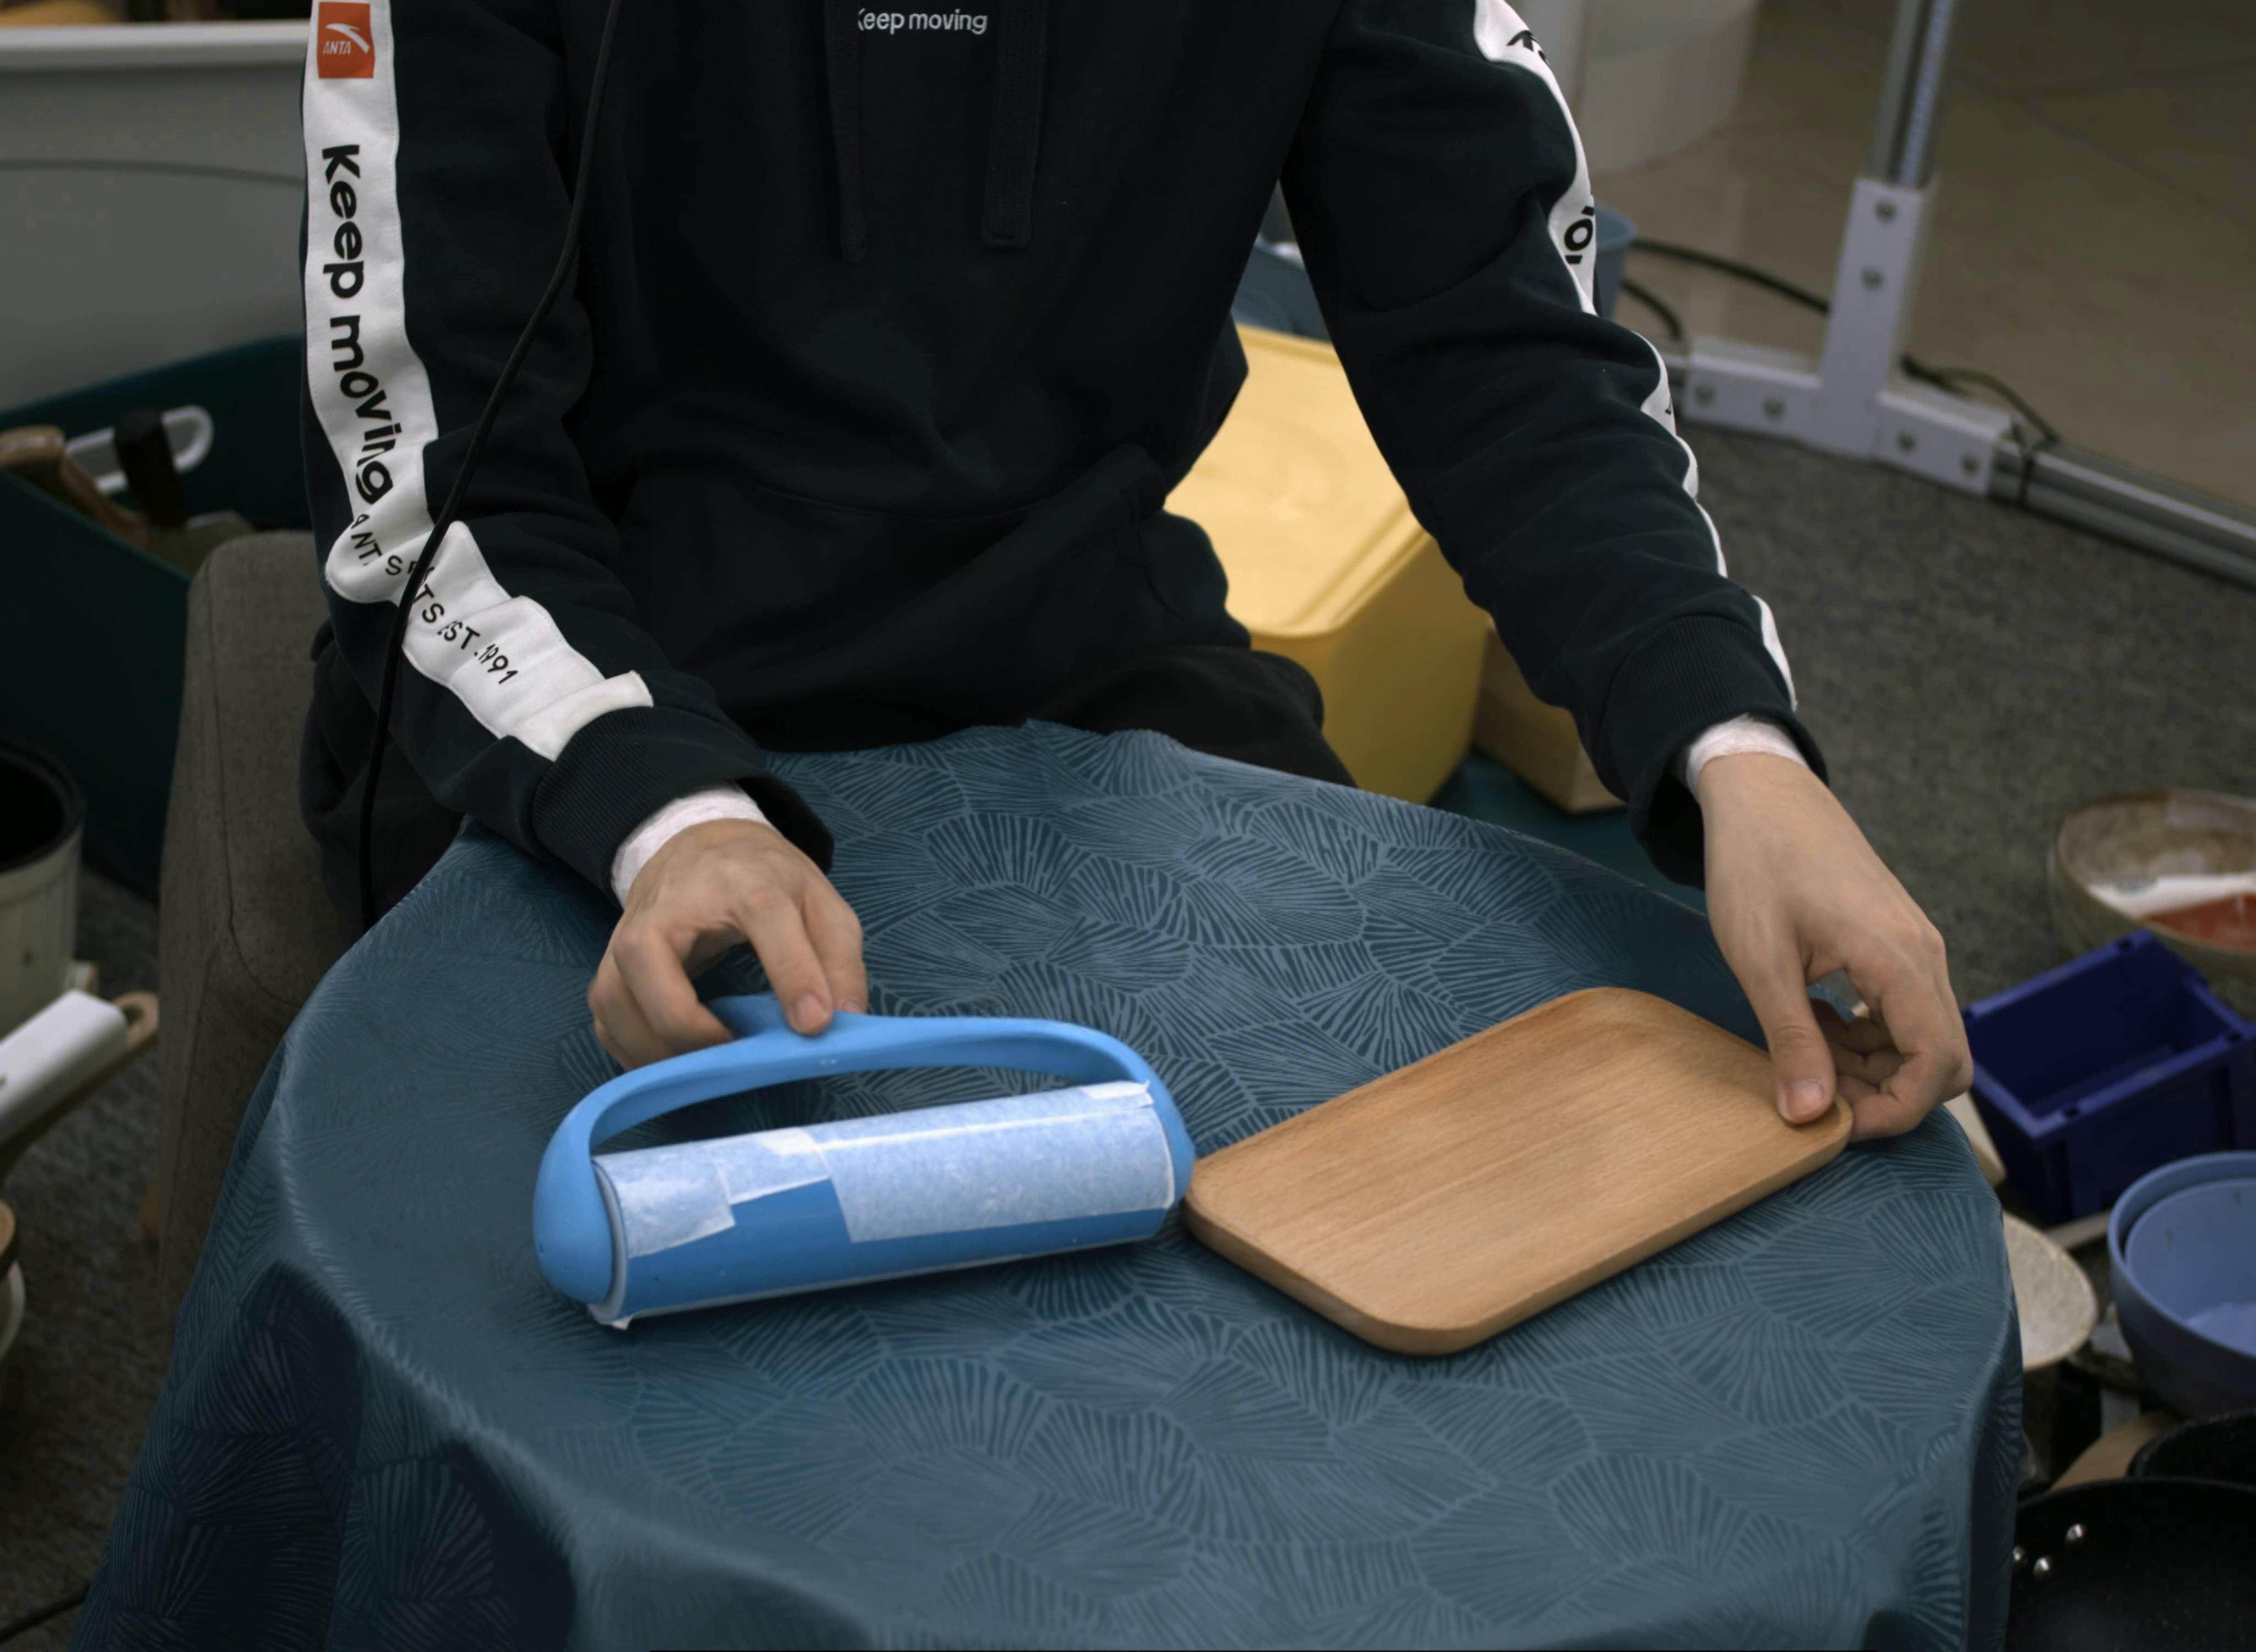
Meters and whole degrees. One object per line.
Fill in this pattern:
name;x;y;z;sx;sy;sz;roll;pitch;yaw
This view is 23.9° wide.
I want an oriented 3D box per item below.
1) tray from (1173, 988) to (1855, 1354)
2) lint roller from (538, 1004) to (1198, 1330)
tray;0.134;0.116;1.824;0.249;0.023;0.131;-20;35;-41
lint roller;-0.109;0.094;1.770;0.227;0.067;0.182;-10;31;-26
